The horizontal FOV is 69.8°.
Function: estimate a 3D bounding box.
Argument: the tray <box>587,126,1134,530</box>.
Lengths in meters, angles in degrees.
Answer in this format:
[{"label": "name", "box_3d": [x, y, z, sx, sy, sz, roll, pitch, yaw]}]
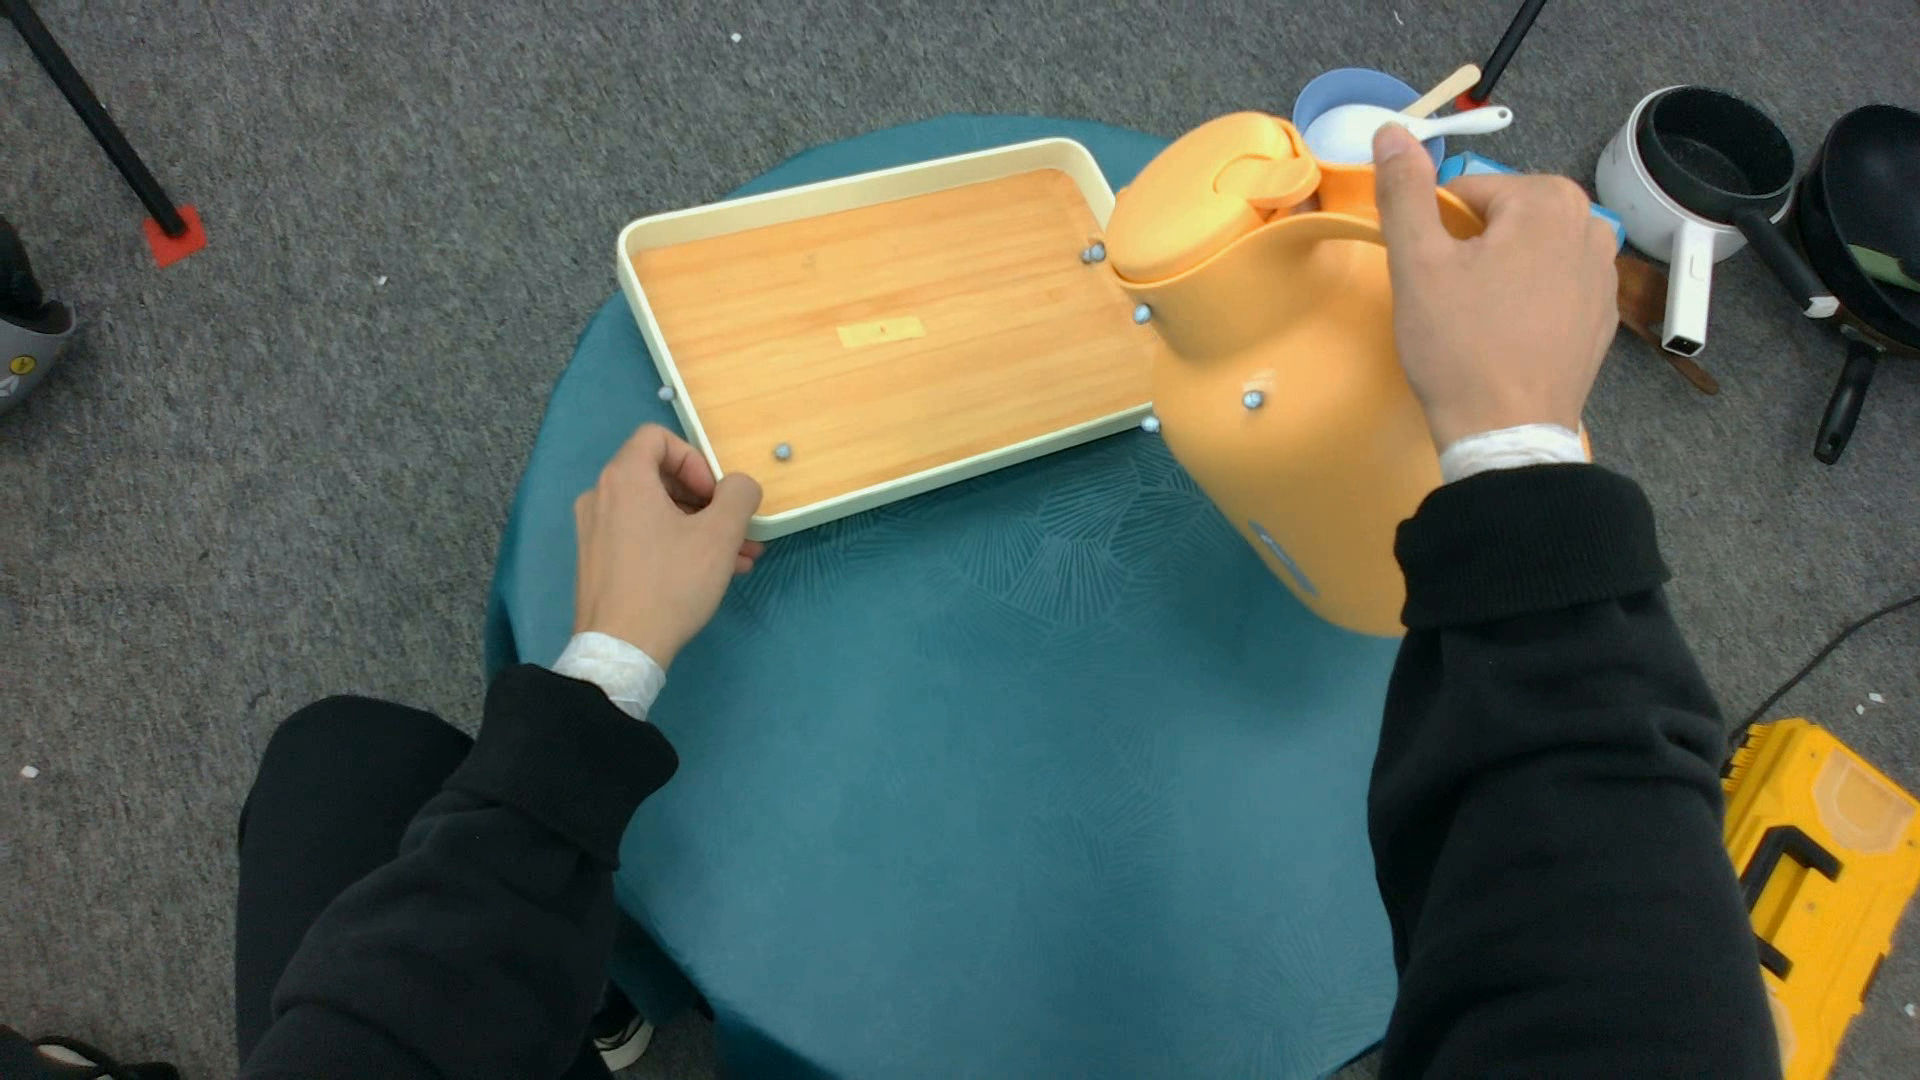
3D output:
[{"label": "tray", "box_3d": [-0.037, -0.130, 0.774, 0.301, 0.027, 0.192, -19, 72, -25]}]

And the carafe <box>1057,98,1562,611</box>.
[{"label": "carafe", "box_3d": [0.172, -0.086, 0.639, 0.260, 0.202, 0.164, 39, 78, -31]}]
